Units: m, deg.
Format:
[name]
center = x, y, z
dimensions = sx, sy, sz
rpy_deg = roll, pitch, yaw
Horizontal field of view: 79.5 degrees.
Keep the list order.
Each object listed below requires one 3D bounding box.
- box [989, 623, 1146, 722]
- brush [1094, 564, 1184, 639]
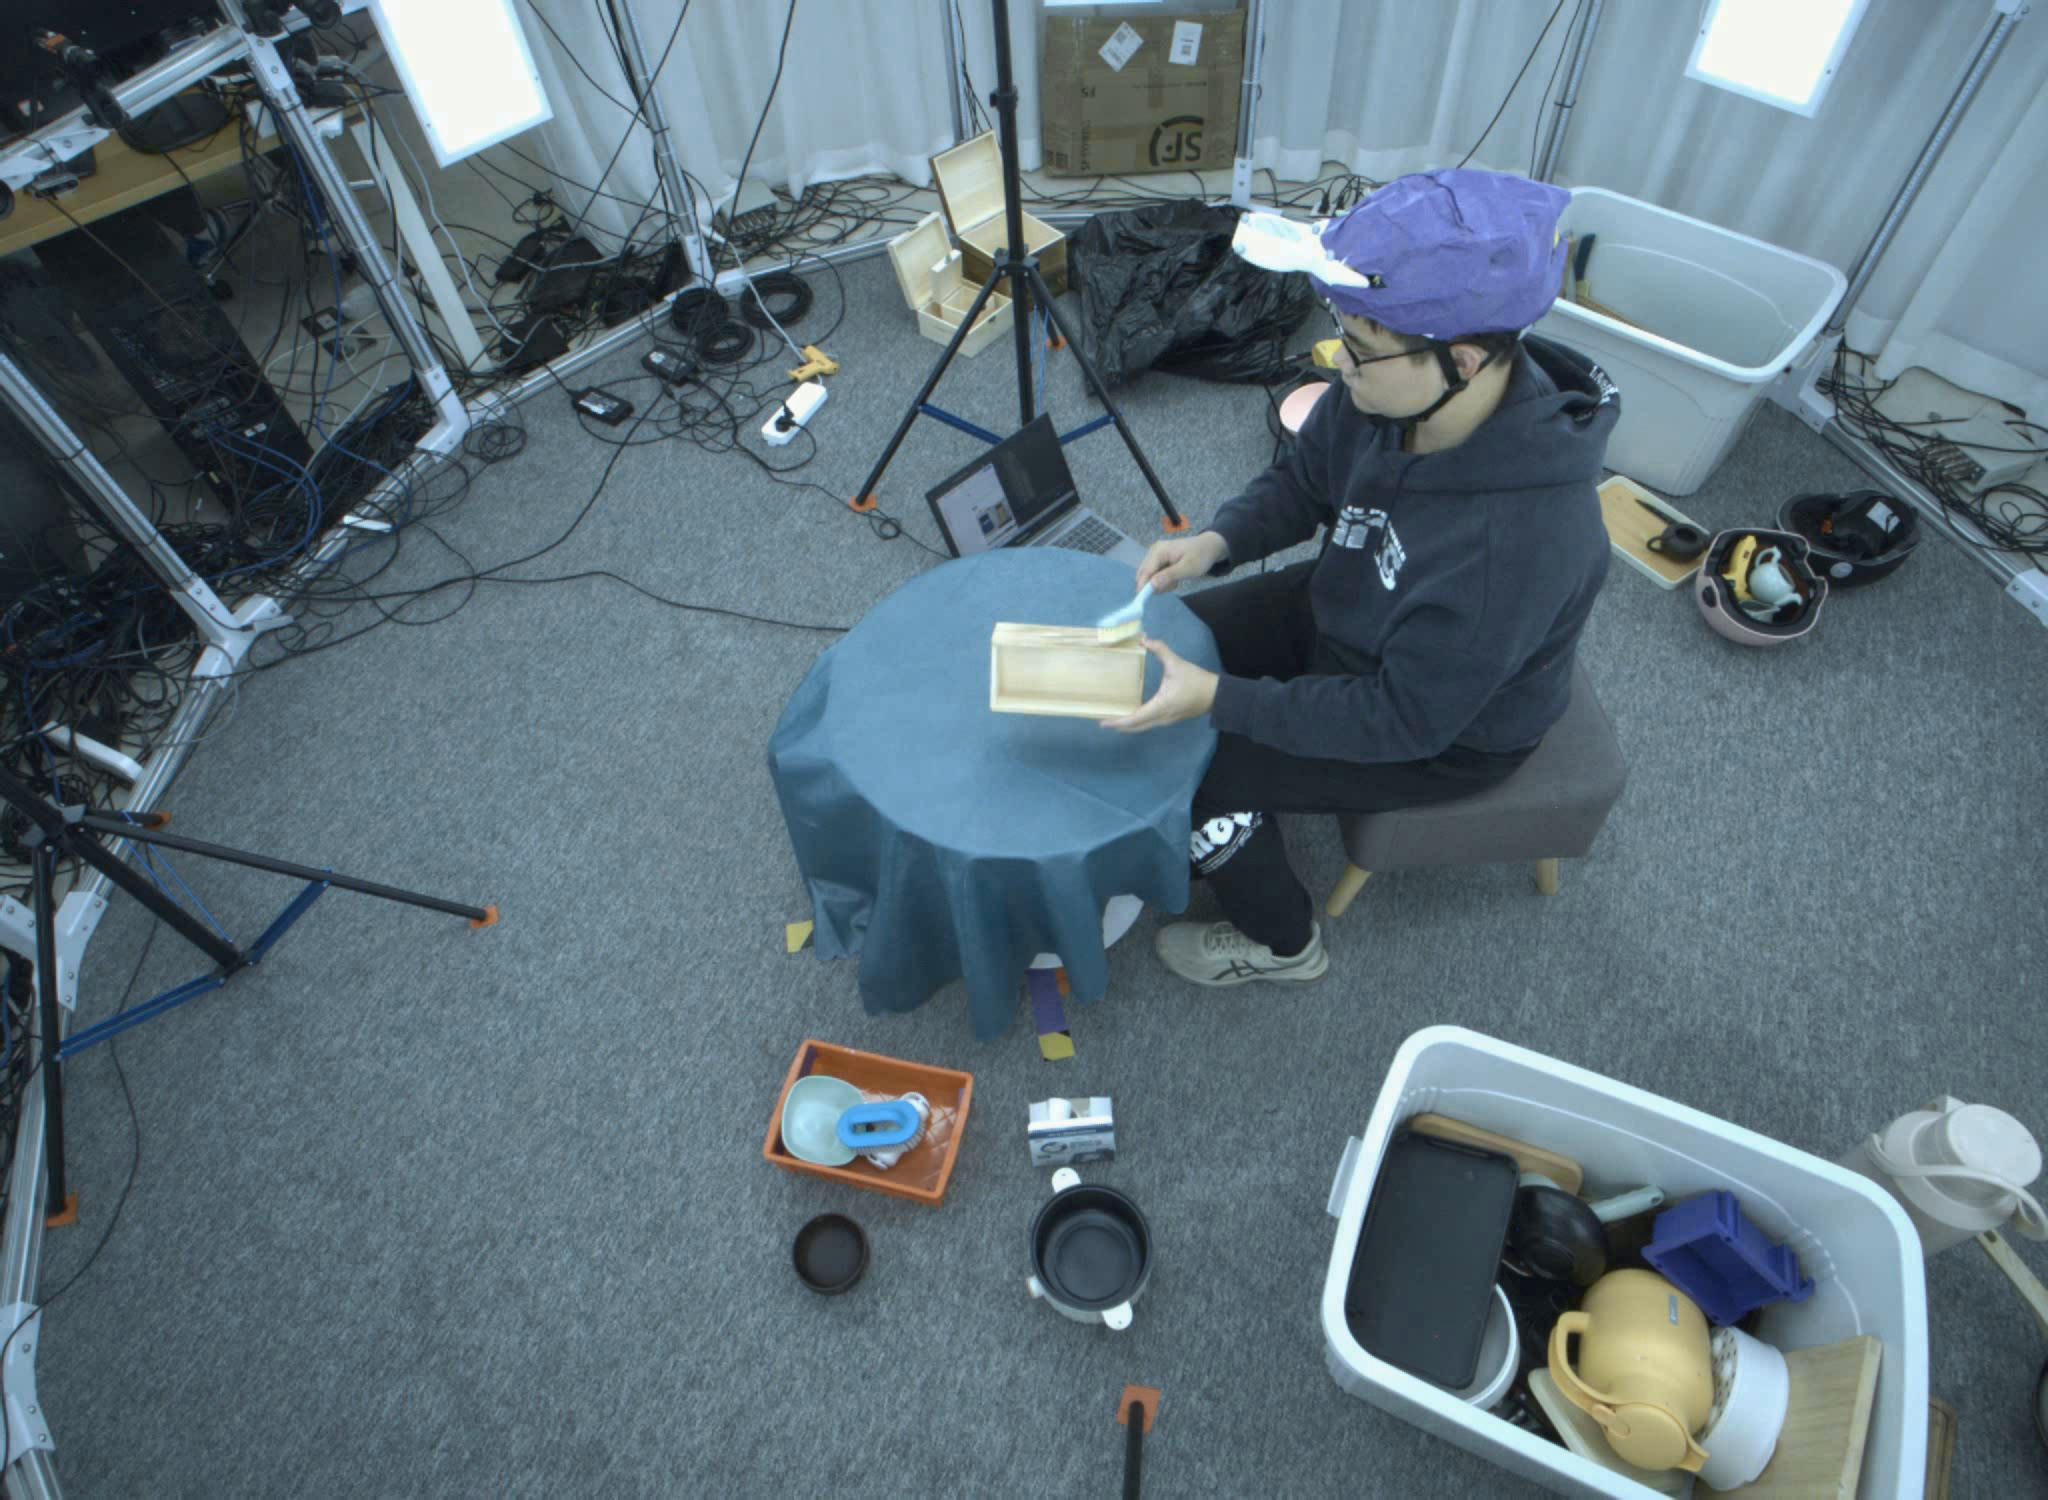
[box]
center = 0.061, -0.109, 1.712
dimensions = 0.211, 0.108, 0.080
rpy_deg = 3, 25, 2
[brush]
center = 0.164, -0.206, 1.706
dimensions = 0.037, 0.050, 0.230
rpy_deg = 3, 29, 34
